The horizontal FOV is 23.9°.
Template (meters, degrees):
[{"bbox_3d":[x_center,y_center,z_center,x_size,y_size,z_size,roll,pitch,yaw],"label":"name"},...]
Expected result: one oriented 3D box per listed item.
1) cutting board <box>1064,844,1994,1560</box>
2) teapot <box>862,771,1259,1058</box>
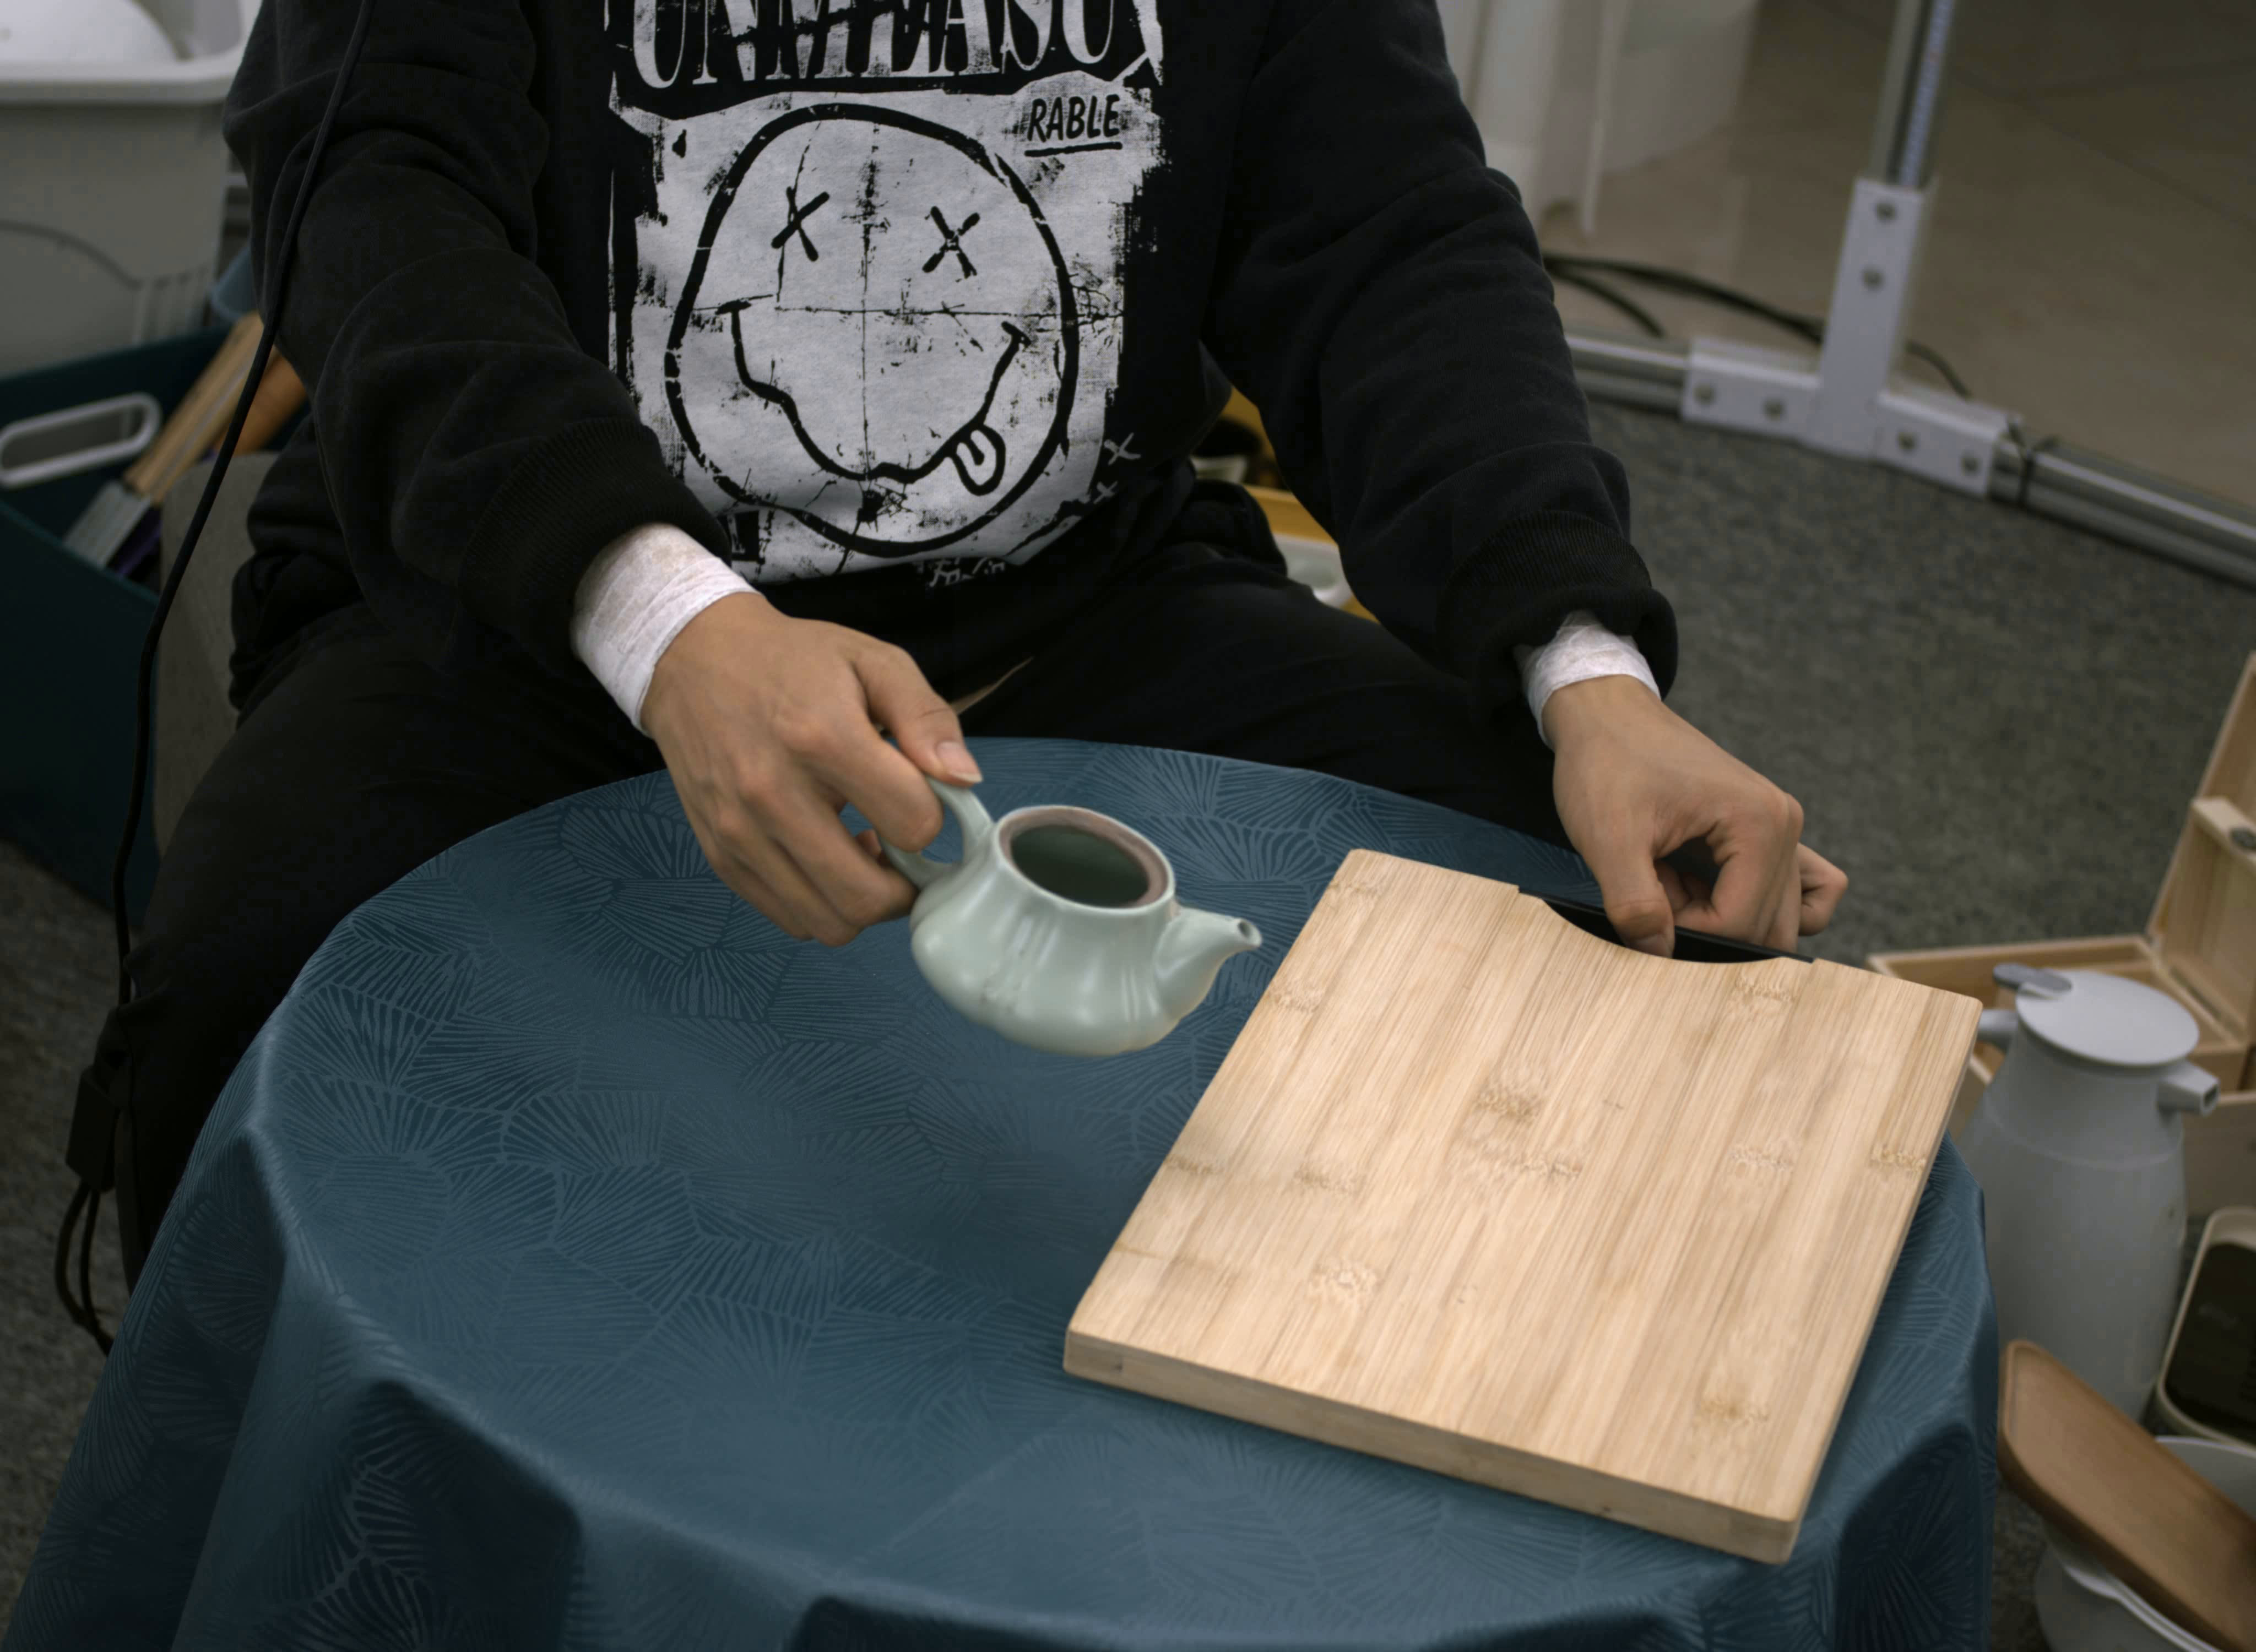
[{"bbox_3d":[0.145,0.117,1.815,0.251,0.023,0.349,13,30,12],"label":"cutting board"},{"bbox_3d":[-0.027,0.030,1.743,0.137,0.061,0.096,25,32,9],"label":"teapot"}]
